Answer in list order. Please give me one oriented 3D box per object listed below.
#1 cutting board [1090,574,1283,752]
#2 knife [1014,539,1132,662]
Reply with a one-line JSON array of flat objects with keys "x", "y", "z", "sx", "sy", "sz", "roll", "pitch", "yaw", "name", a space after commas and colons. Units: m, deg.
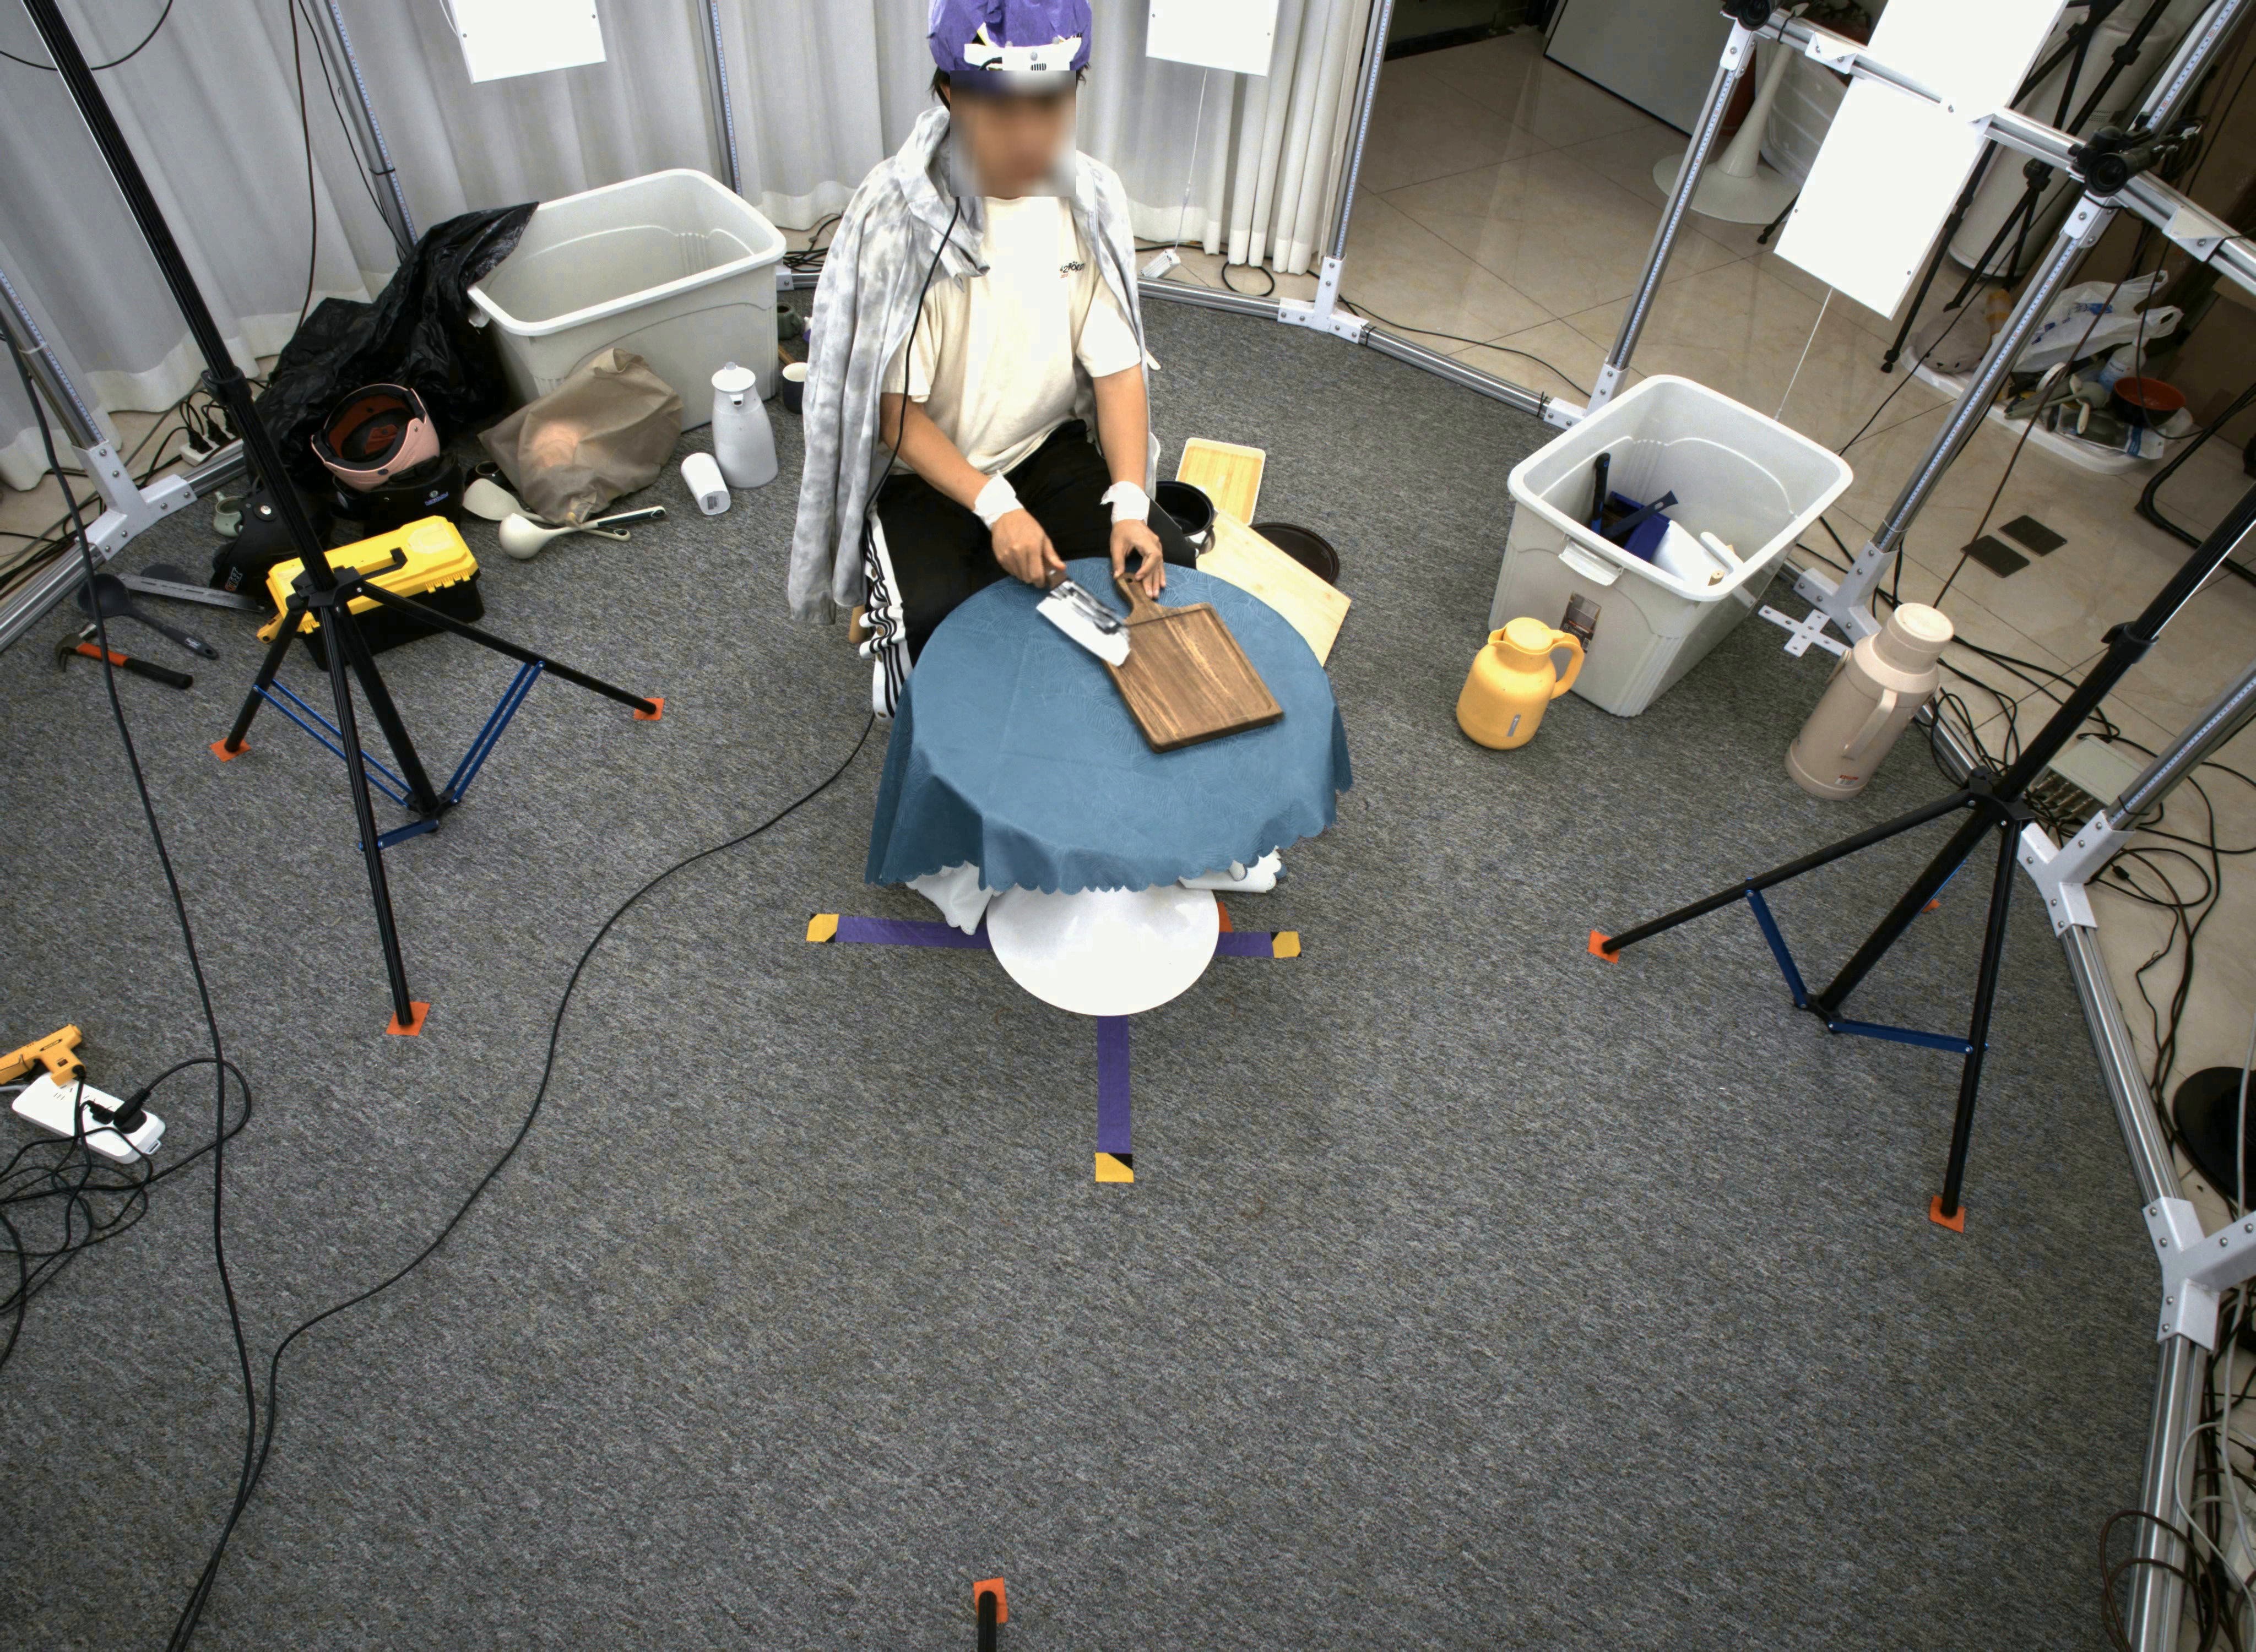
[{"x": 0.062, "y": -0.256, "z": 1.874, "sx": 0.201, "sy": 0.022, "sz": 0.360, "roll": -16, "pitch": 51, "yaw": -17, "name": "cutting board"}, {"x": -0.089, "y": -0.337, "z": 1.914, "sx": 0.068, "sy": 0.023, "sz": 0.305, "roll": -44, "pitch": 59, "yaw": -8, "name": "knife"}]
